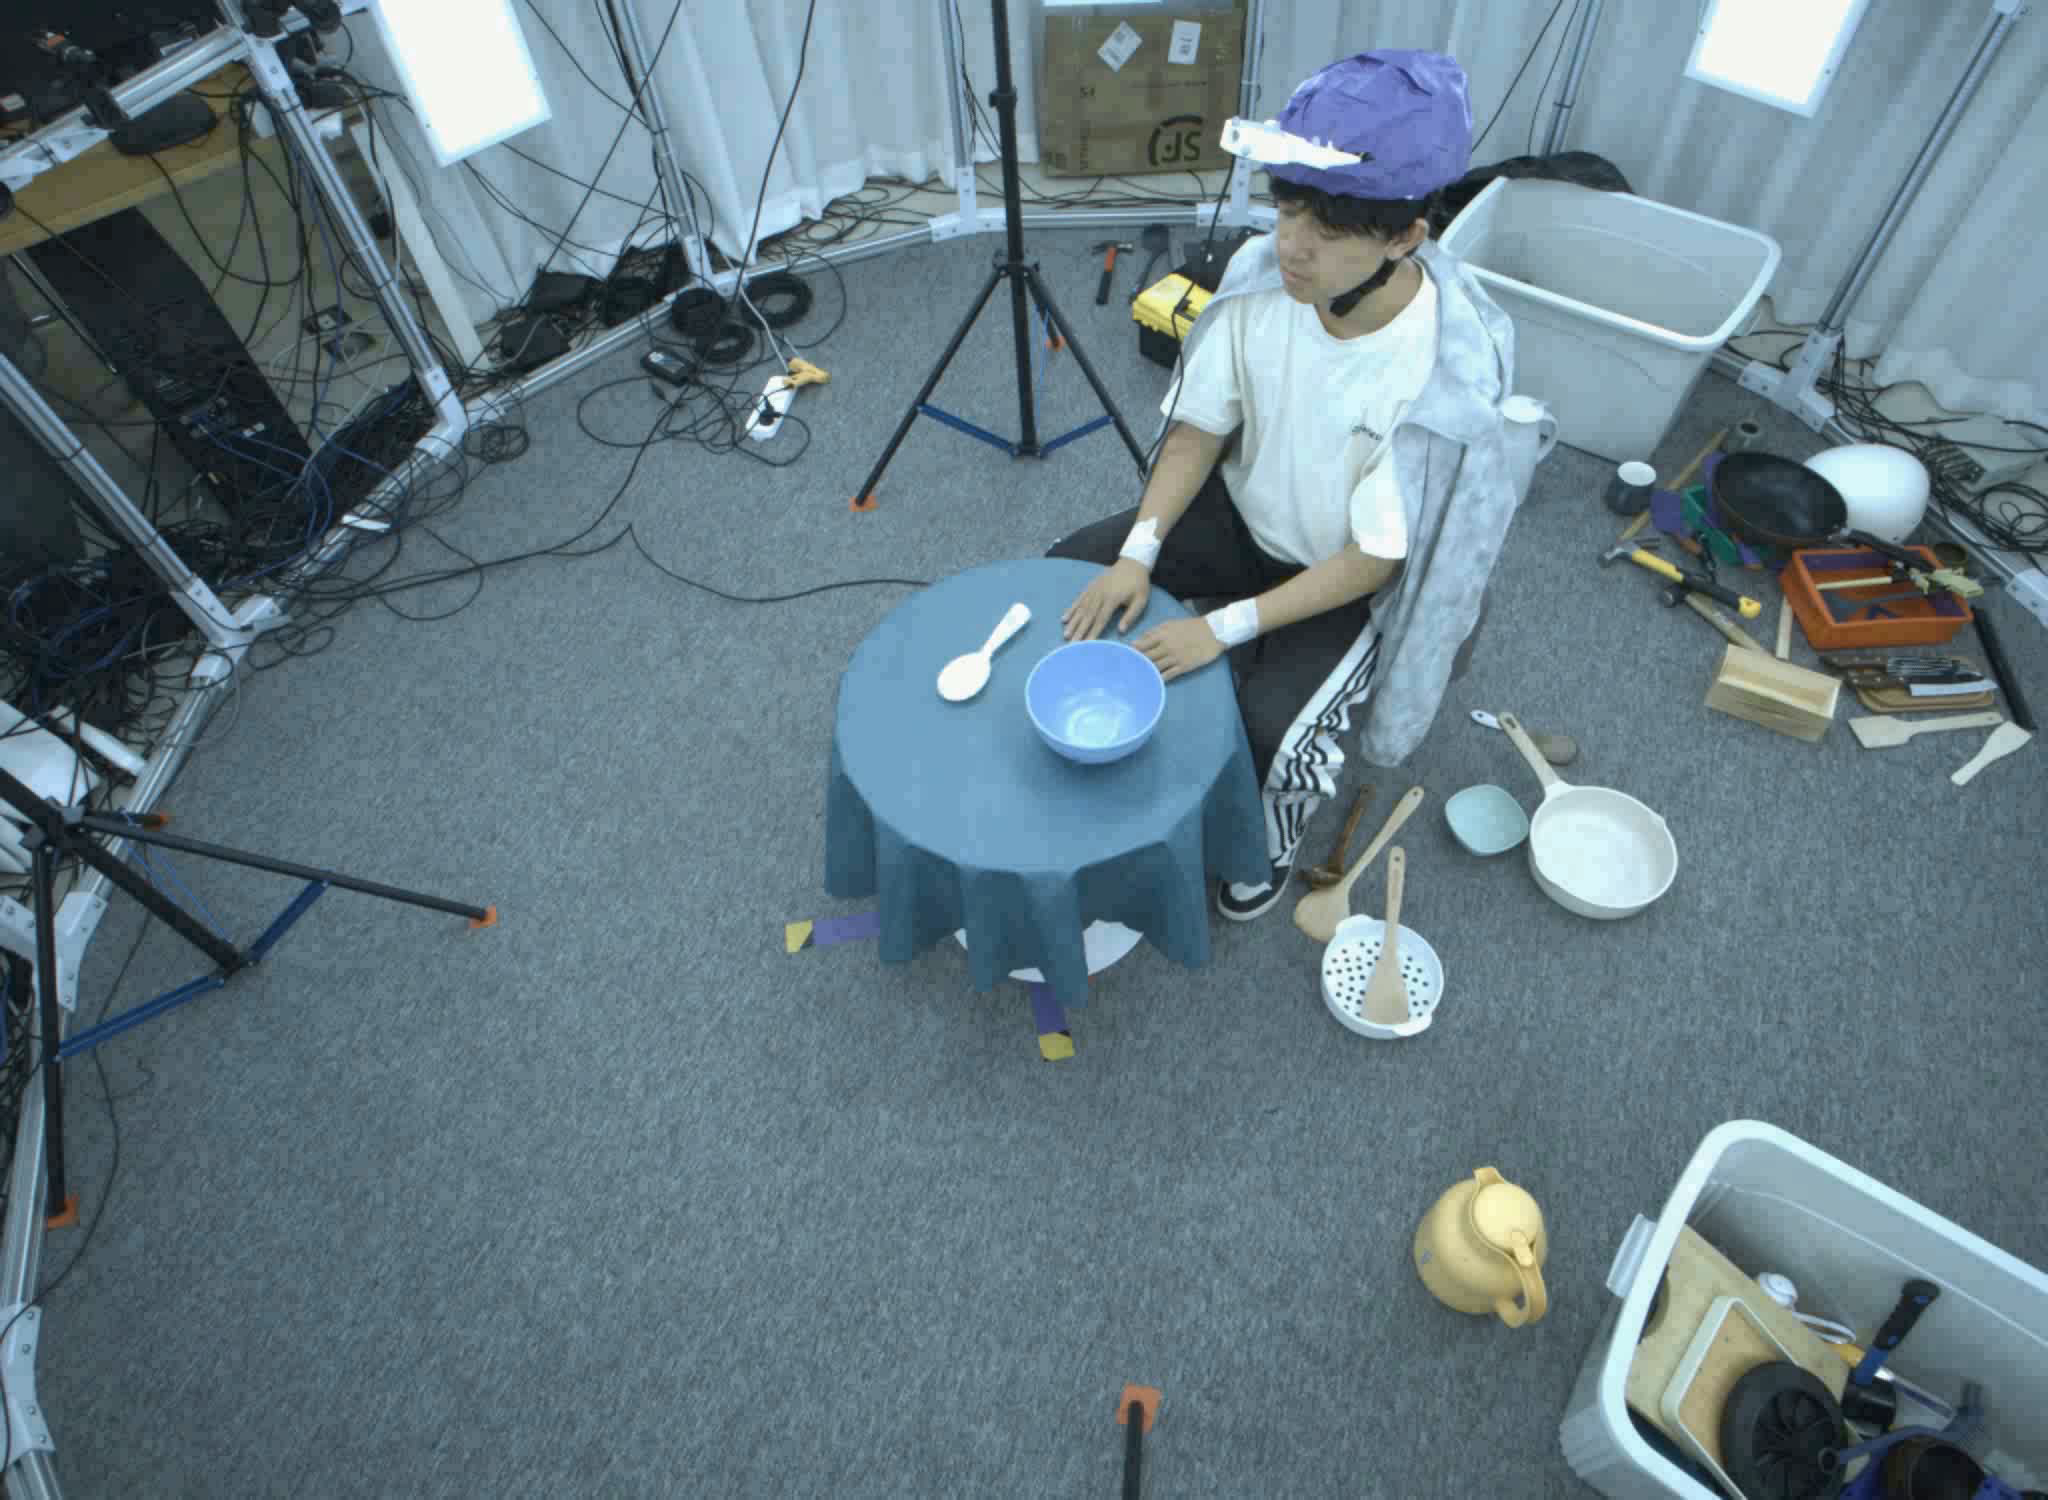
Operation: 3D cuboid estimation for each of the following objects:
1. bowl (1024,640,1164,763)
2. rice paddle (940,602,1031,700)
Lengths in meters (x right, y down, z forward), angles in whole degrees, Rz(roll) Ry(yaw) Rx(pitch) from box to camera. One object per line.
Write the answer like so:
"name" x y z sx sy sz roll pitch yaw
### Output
"bowl" 0.102 -0.055 1.765 0.196 0.096 0.194 -1 55 3
"rice paddle" -0.057 -0.150 1.879 0.068 0.030 0.206 27 60 21
